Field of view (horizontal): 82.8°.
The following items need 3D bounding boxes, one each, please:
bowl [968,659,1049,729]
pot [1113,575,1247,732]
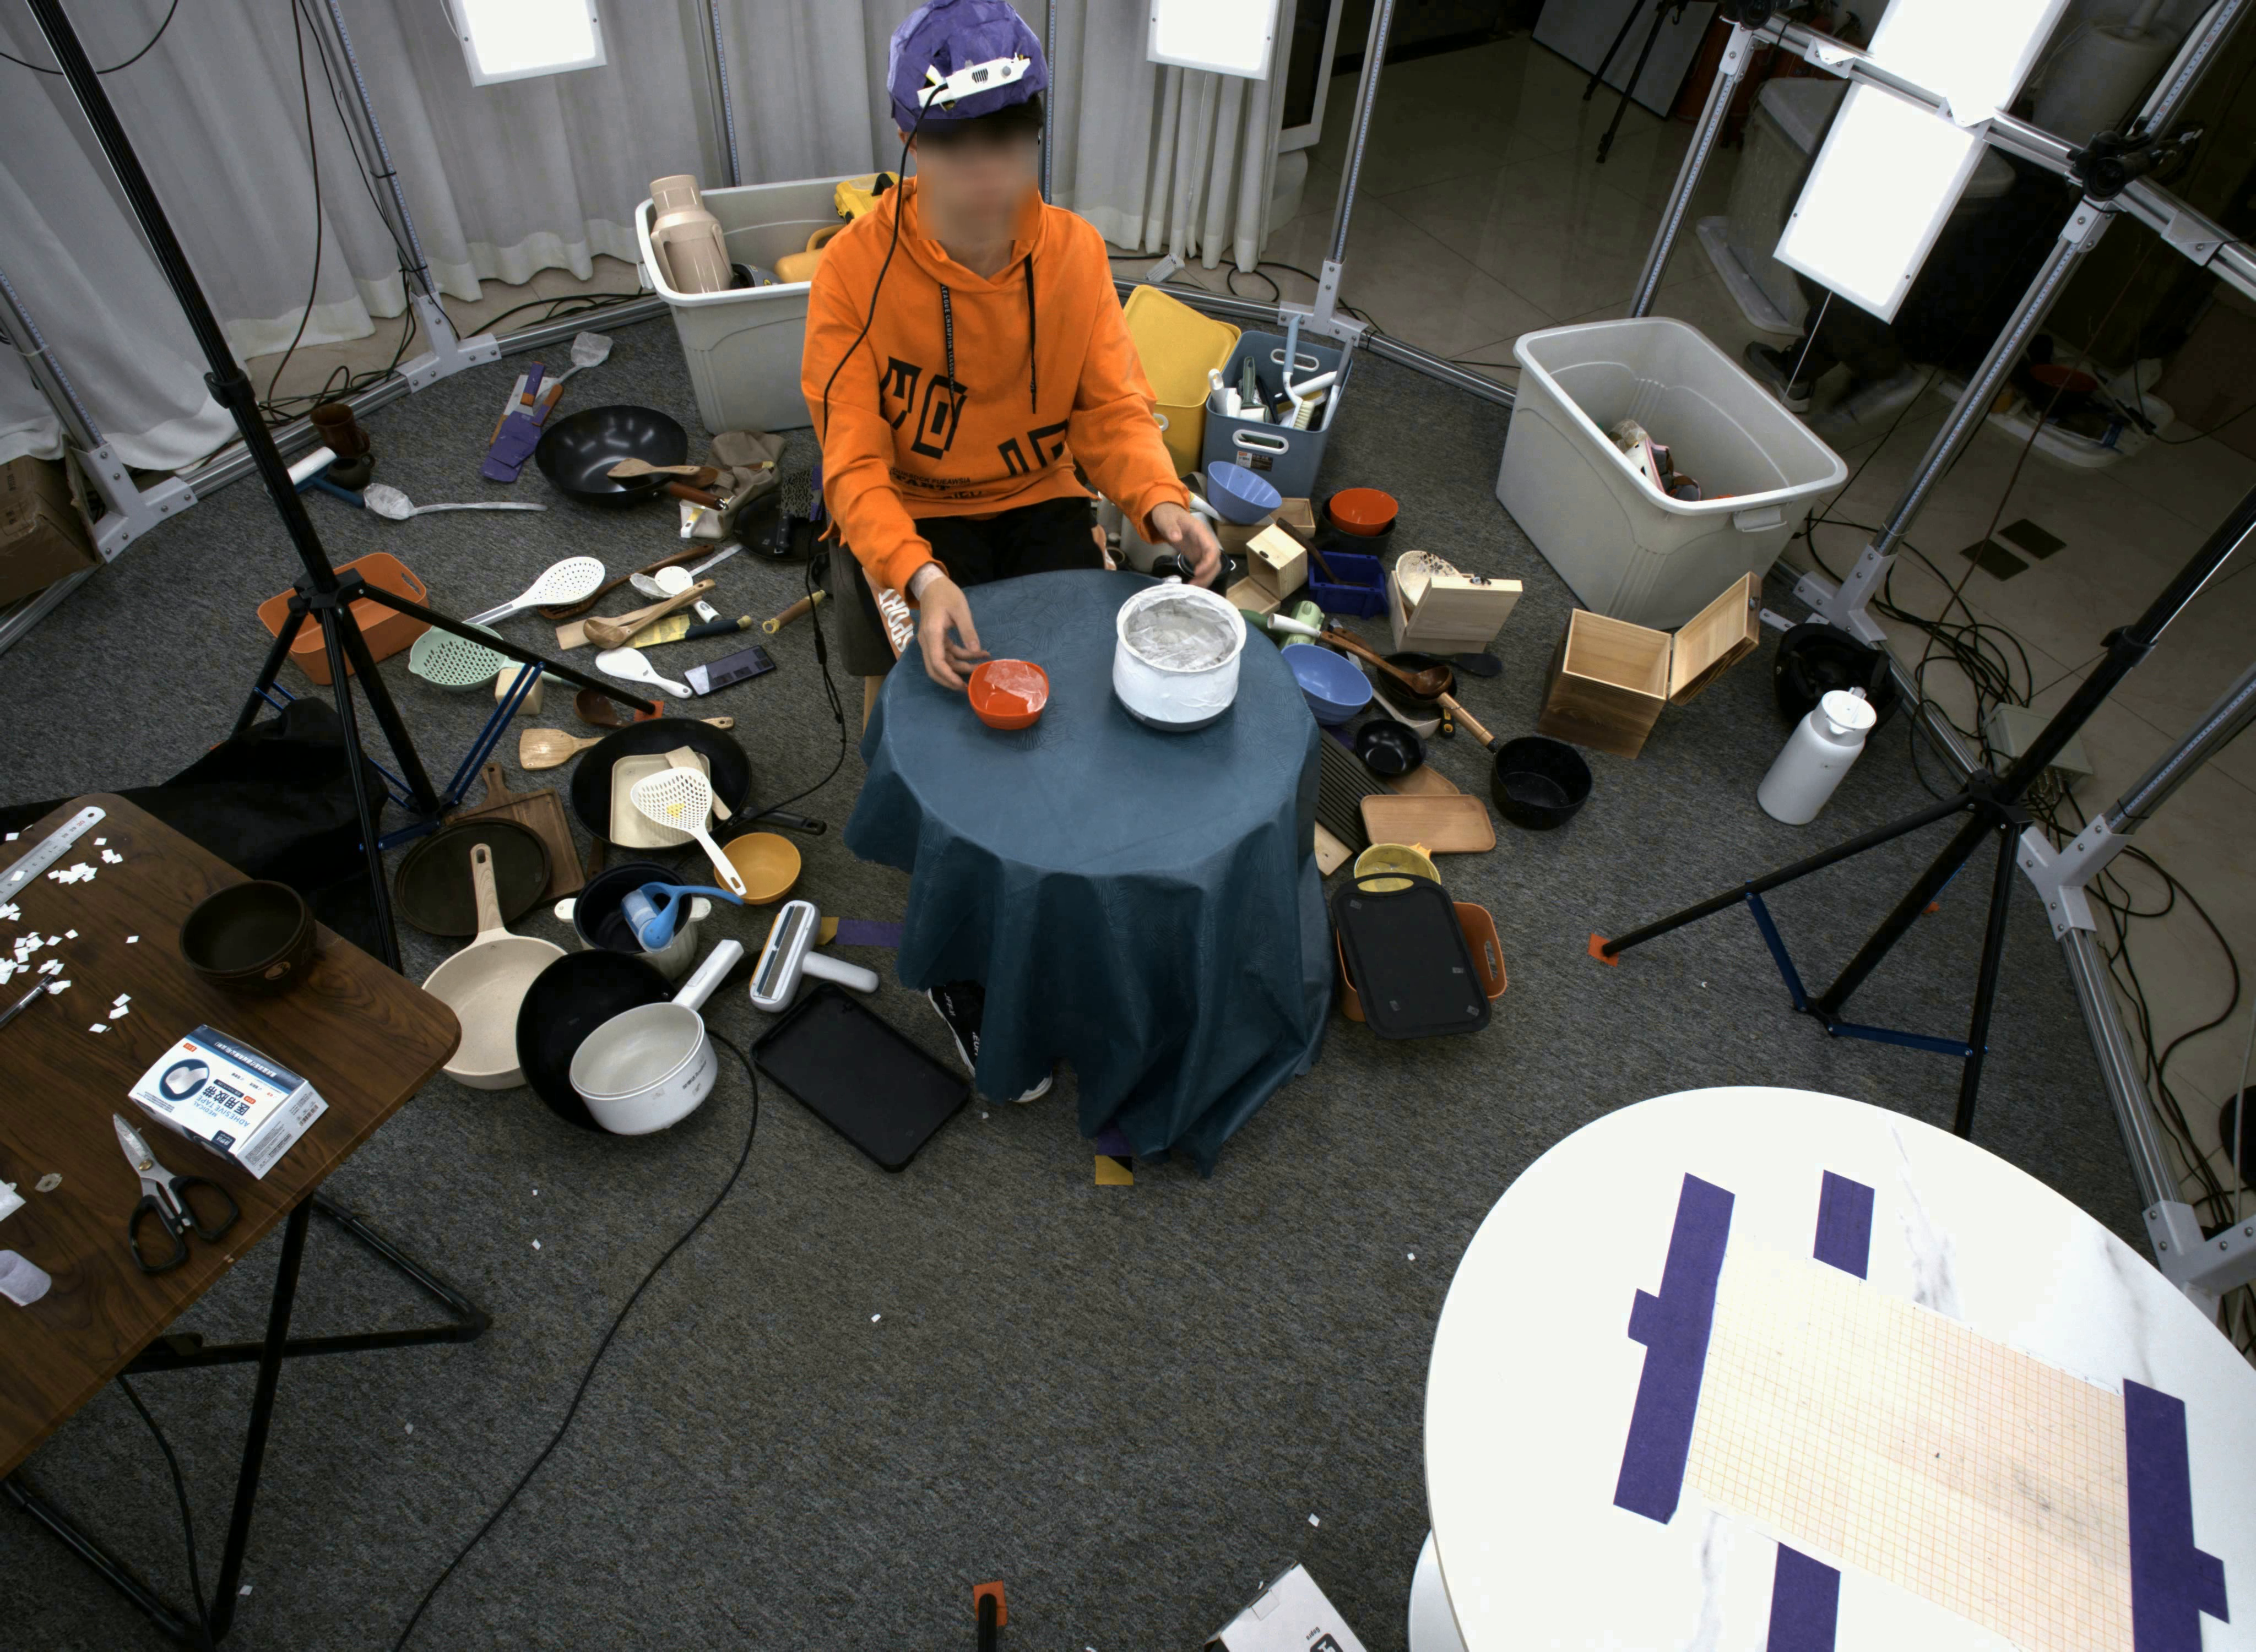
[{"bbox_3d":[-0.164,-0.176,1.777,0.119,0.050,0.122,1,50,-2],"label":"bowl"},{"bbox_3d":[0.066,-0.252,1.803,0.178,0.133,0.239,-2,50,-6],"label":"pot"}]
